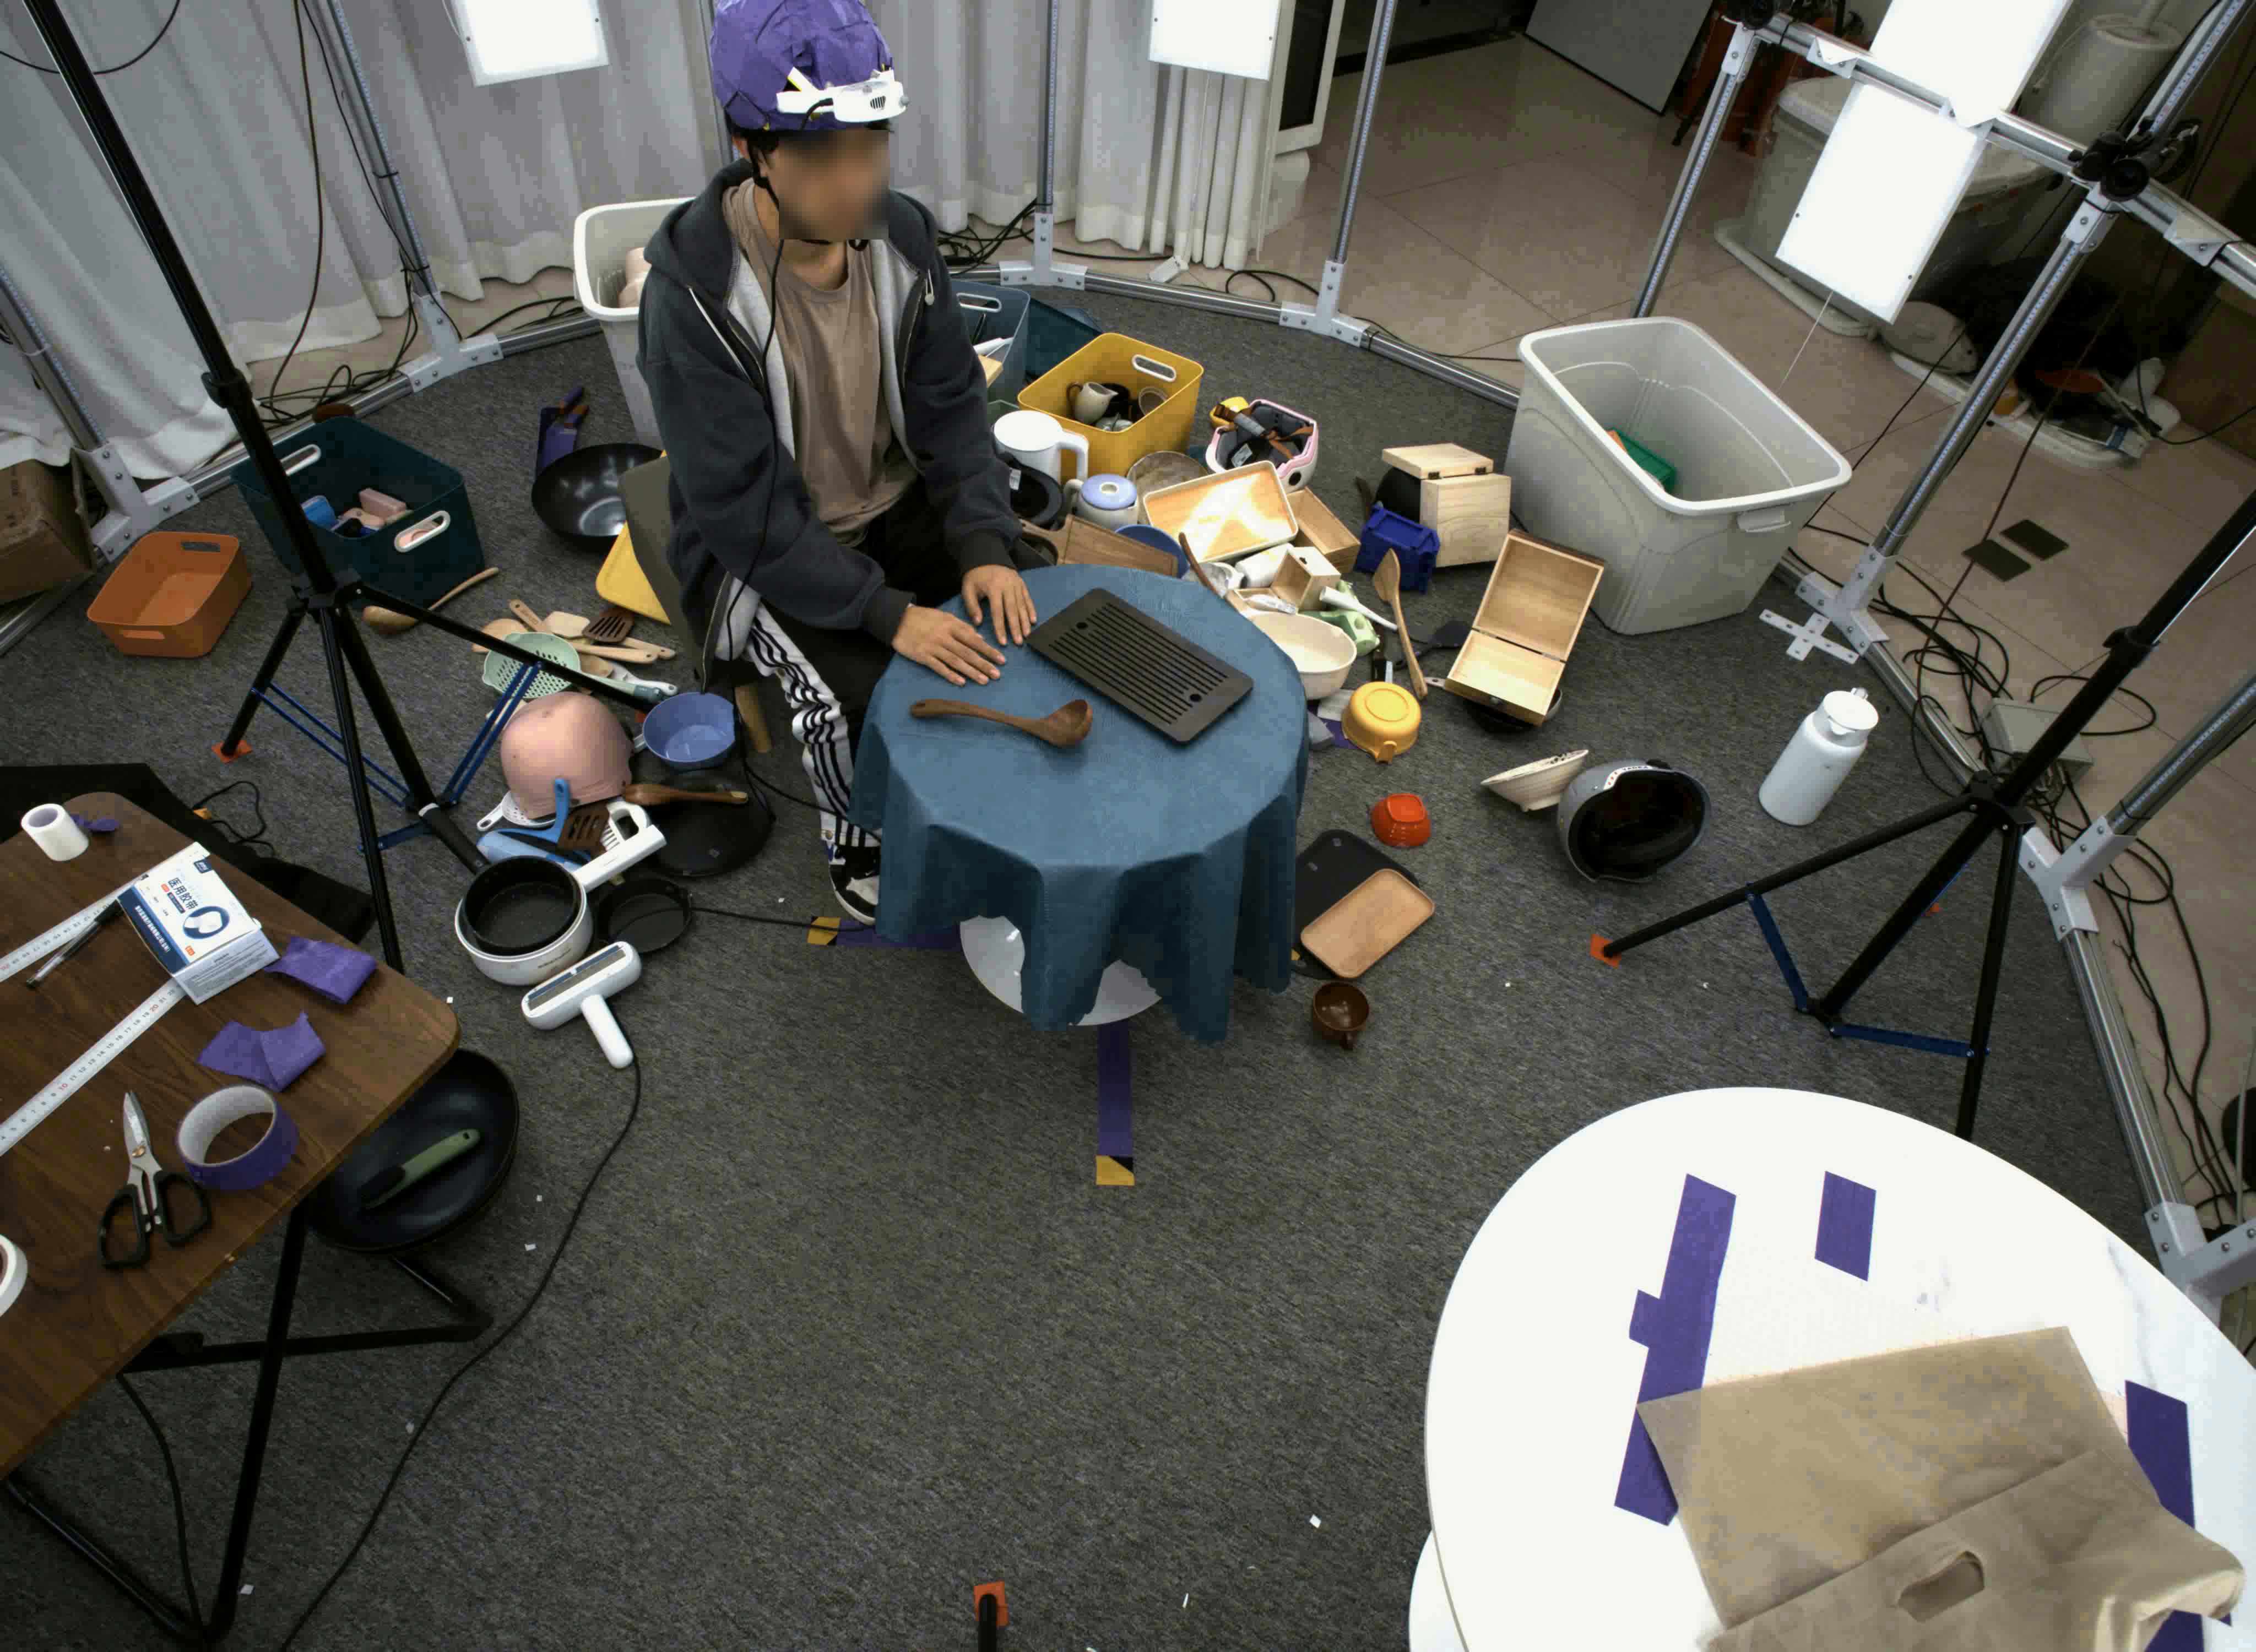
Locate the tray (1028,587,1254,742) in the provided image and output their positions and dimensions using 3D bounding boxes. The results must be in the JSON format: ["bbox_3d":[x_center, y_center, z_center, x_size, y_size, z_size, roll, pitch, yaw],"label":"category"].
[{"bbox_3d":[0.017,-0.237,1.862,0.310,0.018,0.172,35,55,24],"label":"tray"}]

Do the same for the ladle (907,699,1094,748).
[{"bbox_3d":[-0.175,-0.156,1.748,0.260,0.063,0.078,11,49,6],"label":"ladle"}]
